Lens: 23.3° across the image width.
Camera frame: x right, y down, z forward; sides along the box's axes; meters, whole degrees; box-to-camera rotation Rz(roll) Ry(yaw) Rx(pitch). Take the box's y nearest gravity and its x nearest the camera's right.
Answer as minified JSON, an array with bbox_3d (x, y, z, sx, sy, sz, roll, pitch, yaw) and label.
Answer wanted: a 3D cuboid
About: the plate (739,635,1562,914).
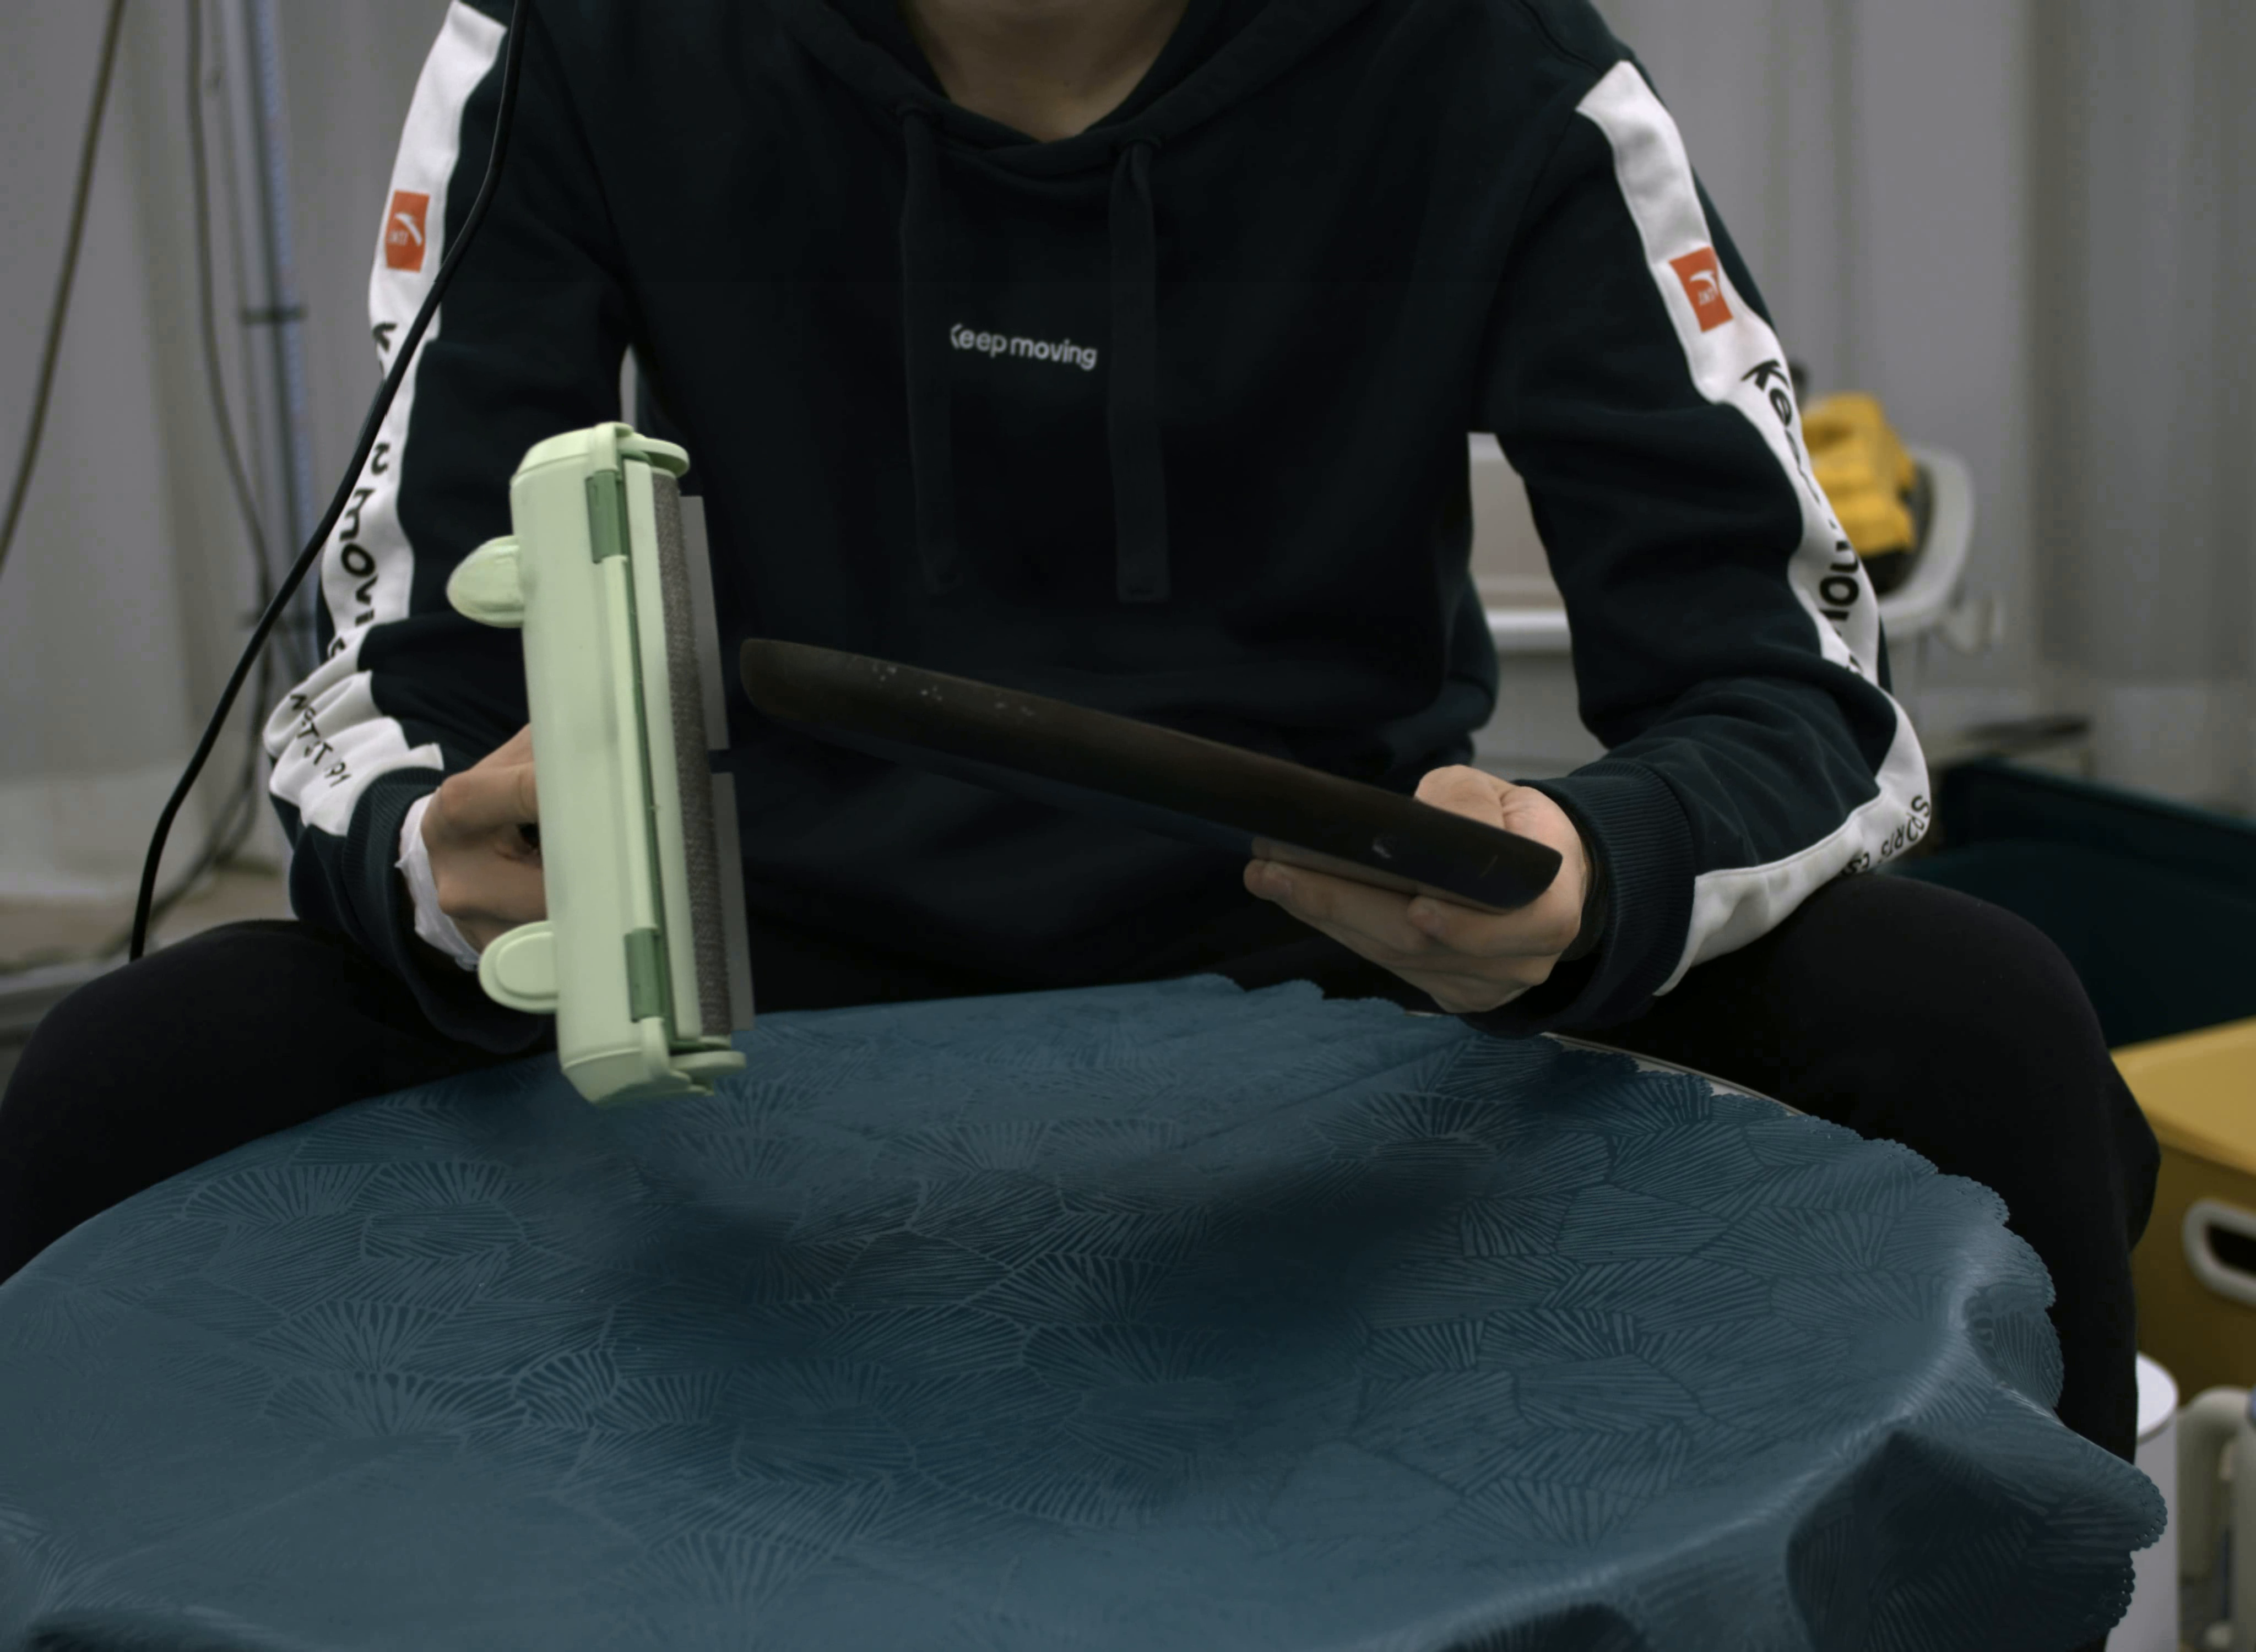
[{"bbox_3d":[0.005,-0.014,1.624,0.254,0.029,0.254,14,-2,0],"label":"plate"}]

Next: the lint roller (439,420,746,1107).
[{"bbox_3d":[-0.174,-0.006,1.650,0.082,0.200,0.183,-2,-11,-23],"label":"lint roller"}]
